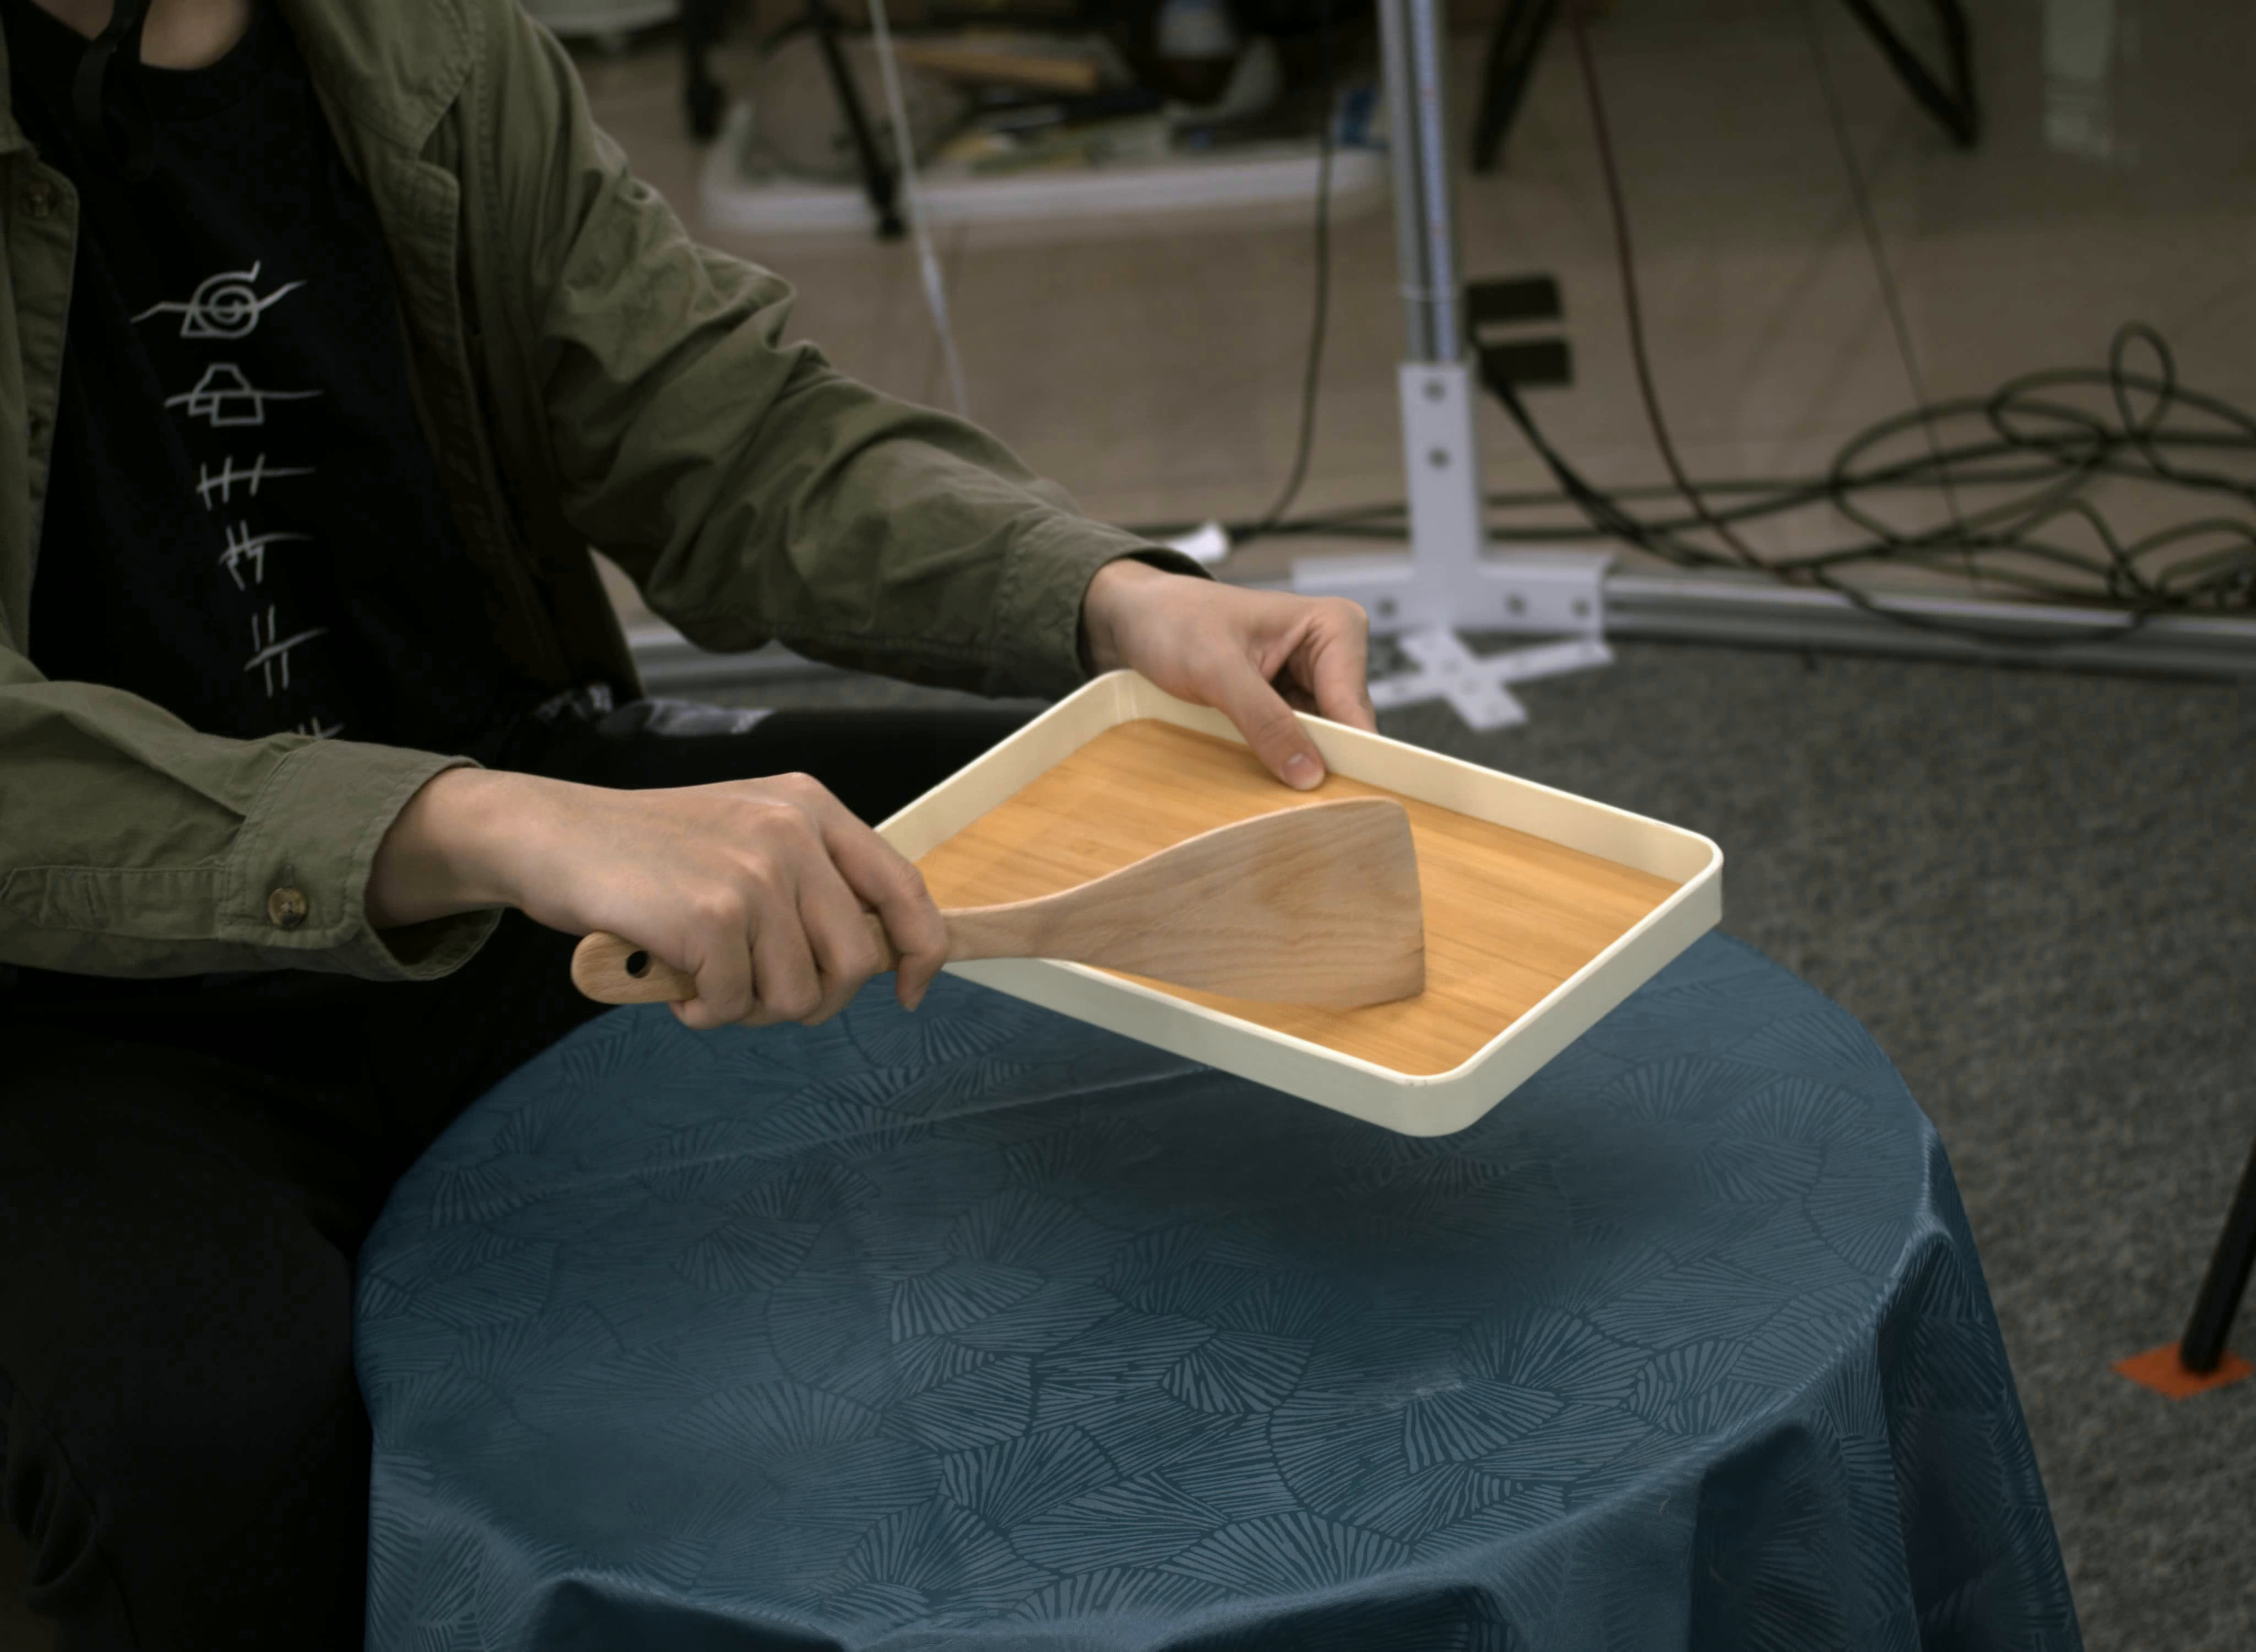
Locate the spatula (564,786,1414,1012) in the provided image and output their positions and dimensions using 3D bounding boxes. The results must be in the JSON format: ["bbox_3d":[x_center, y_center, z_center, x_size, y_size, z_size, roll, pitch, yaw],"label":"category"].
[{"bbox_3d":[-0.043,0.036,1.988,0.327,0.081,0.016,-6,22,-26],"label":"spatula"}]

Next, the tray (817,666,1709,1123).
[{"bbox_3d":[0.049,0.021,2.128,0.298,0.028,0.189,18,38,37],"label":"tray"}]
